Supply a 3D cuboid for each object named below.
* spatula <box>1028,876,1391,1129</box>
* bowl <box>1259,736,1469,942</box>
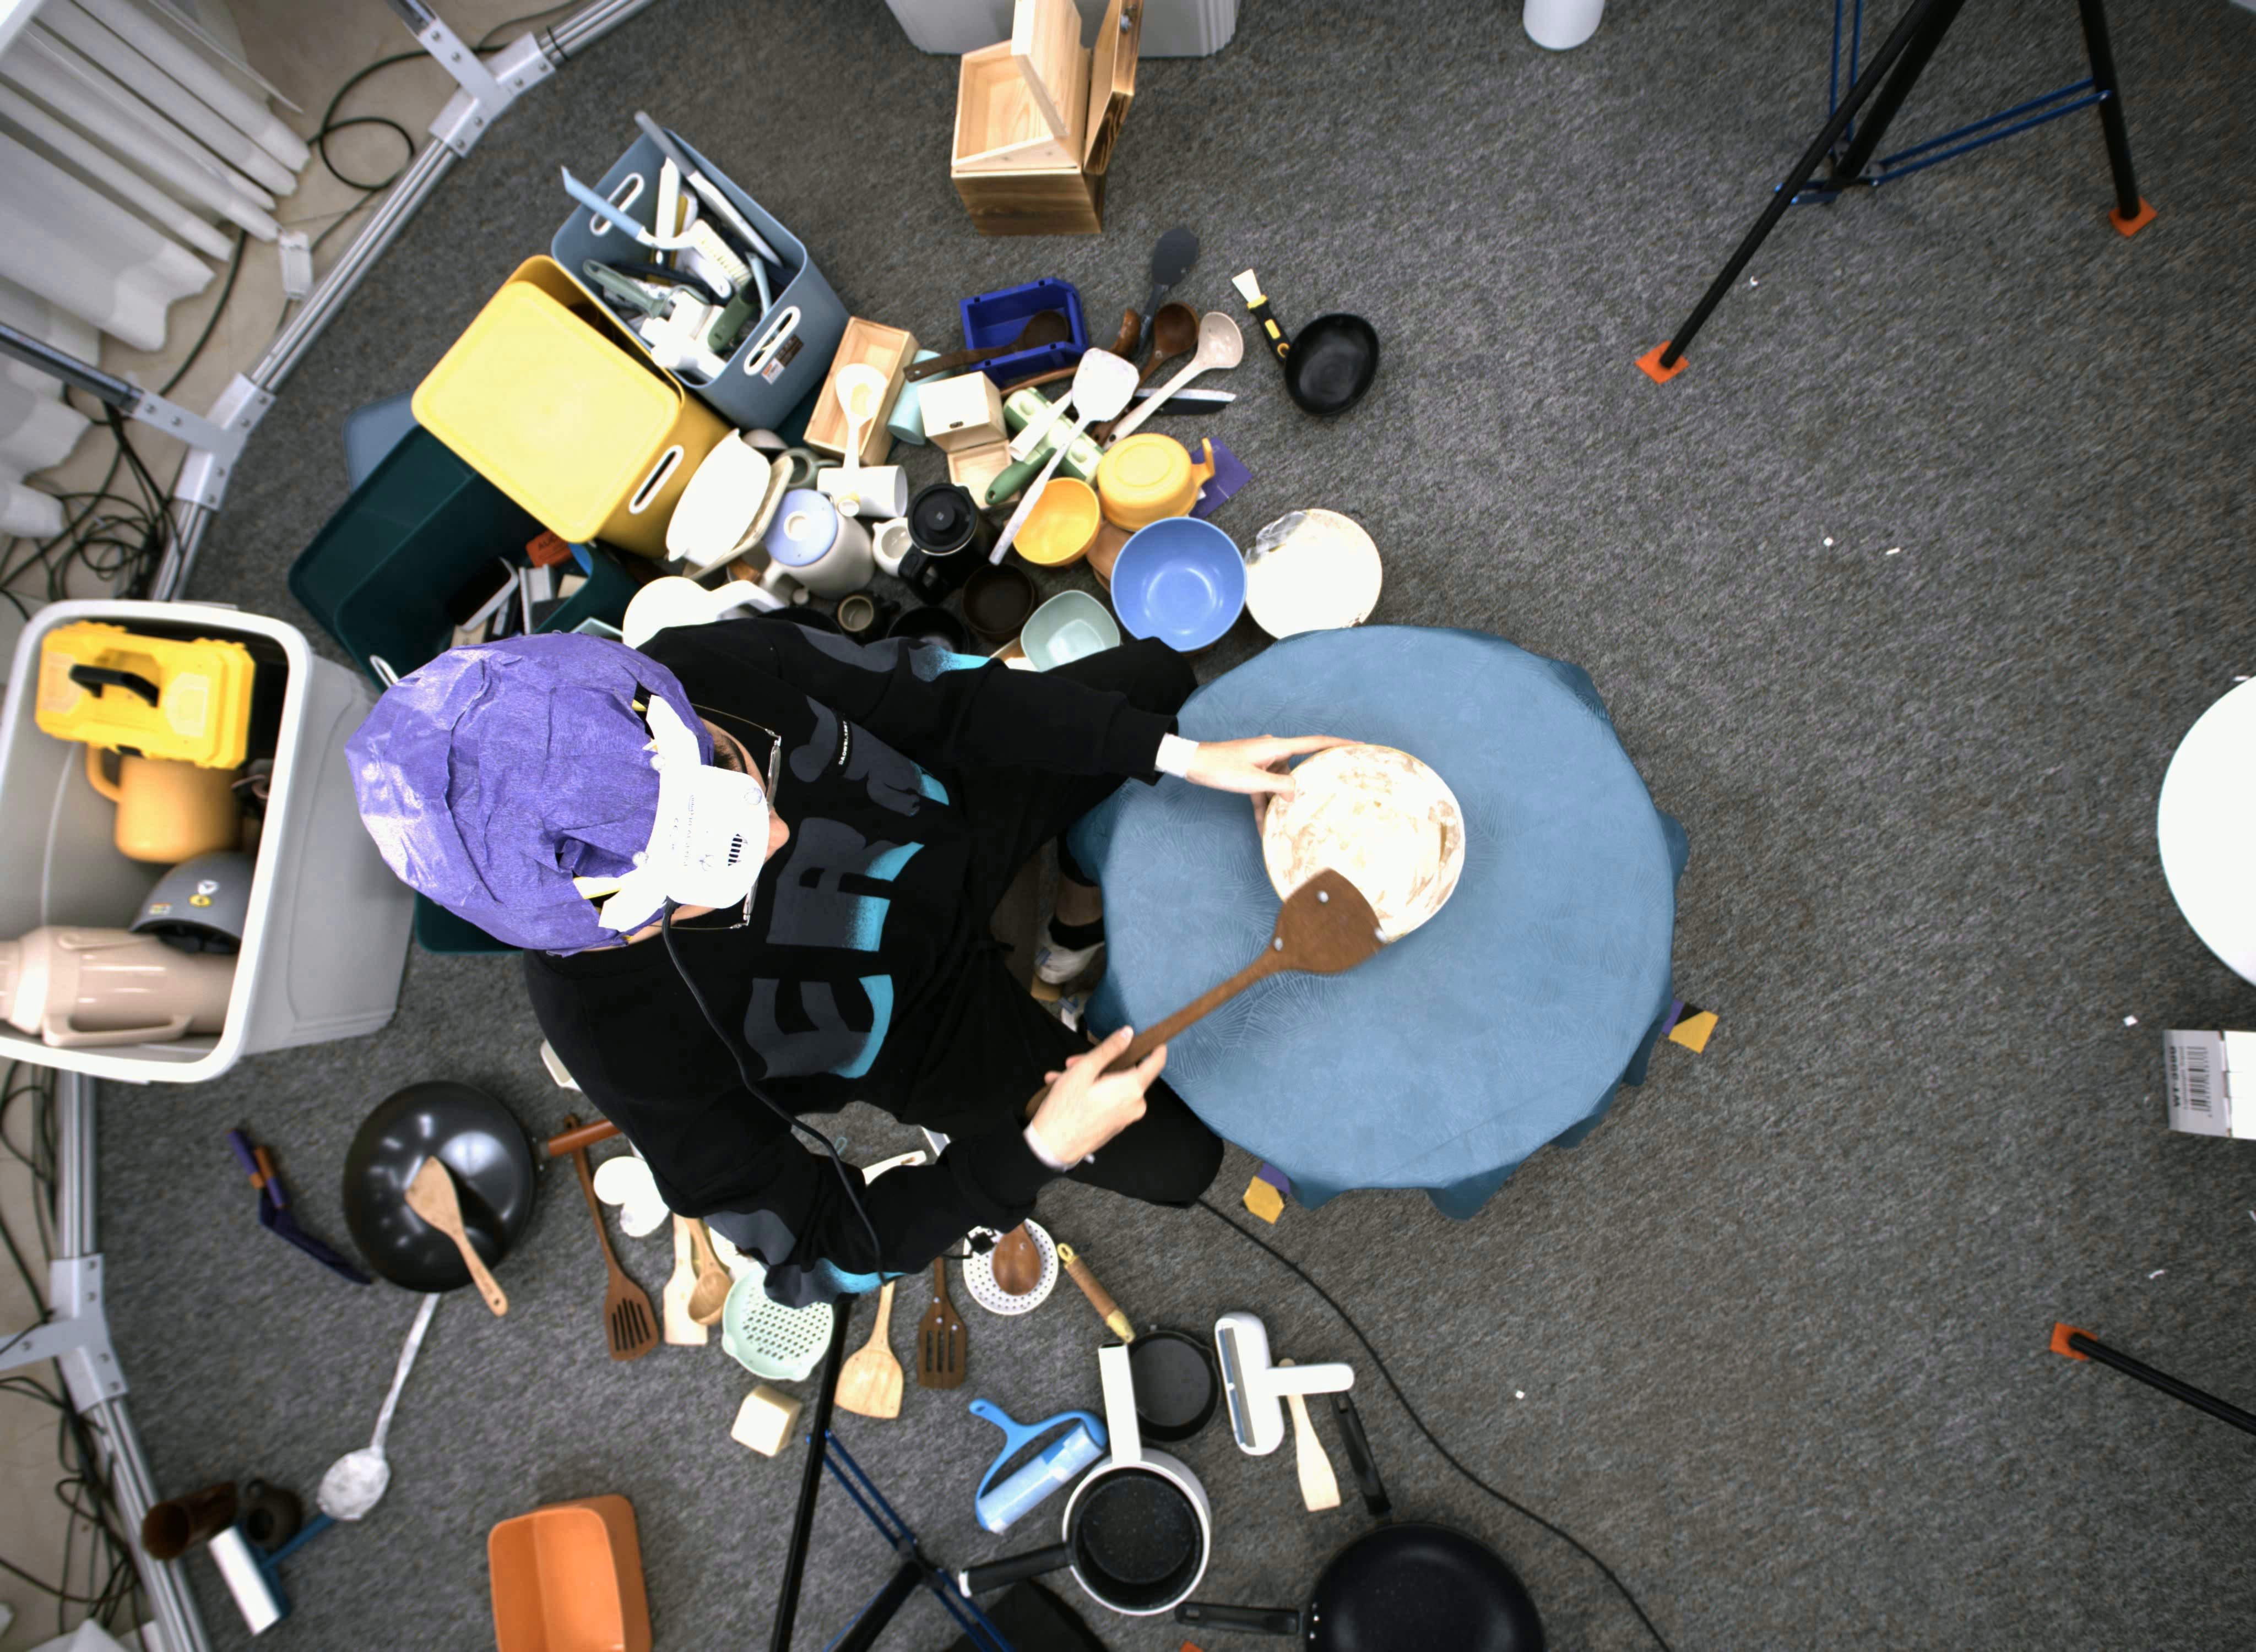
[{"bbox_3d":[0.075,0.166,1.257,0.382,0.016,0.095,-29,78,-18],"label":"spatula"},{"bbox_3d":[0.241,0.017,1.425,0.215,0.094,0.214,0,89,8],"label":"bowl"}]
